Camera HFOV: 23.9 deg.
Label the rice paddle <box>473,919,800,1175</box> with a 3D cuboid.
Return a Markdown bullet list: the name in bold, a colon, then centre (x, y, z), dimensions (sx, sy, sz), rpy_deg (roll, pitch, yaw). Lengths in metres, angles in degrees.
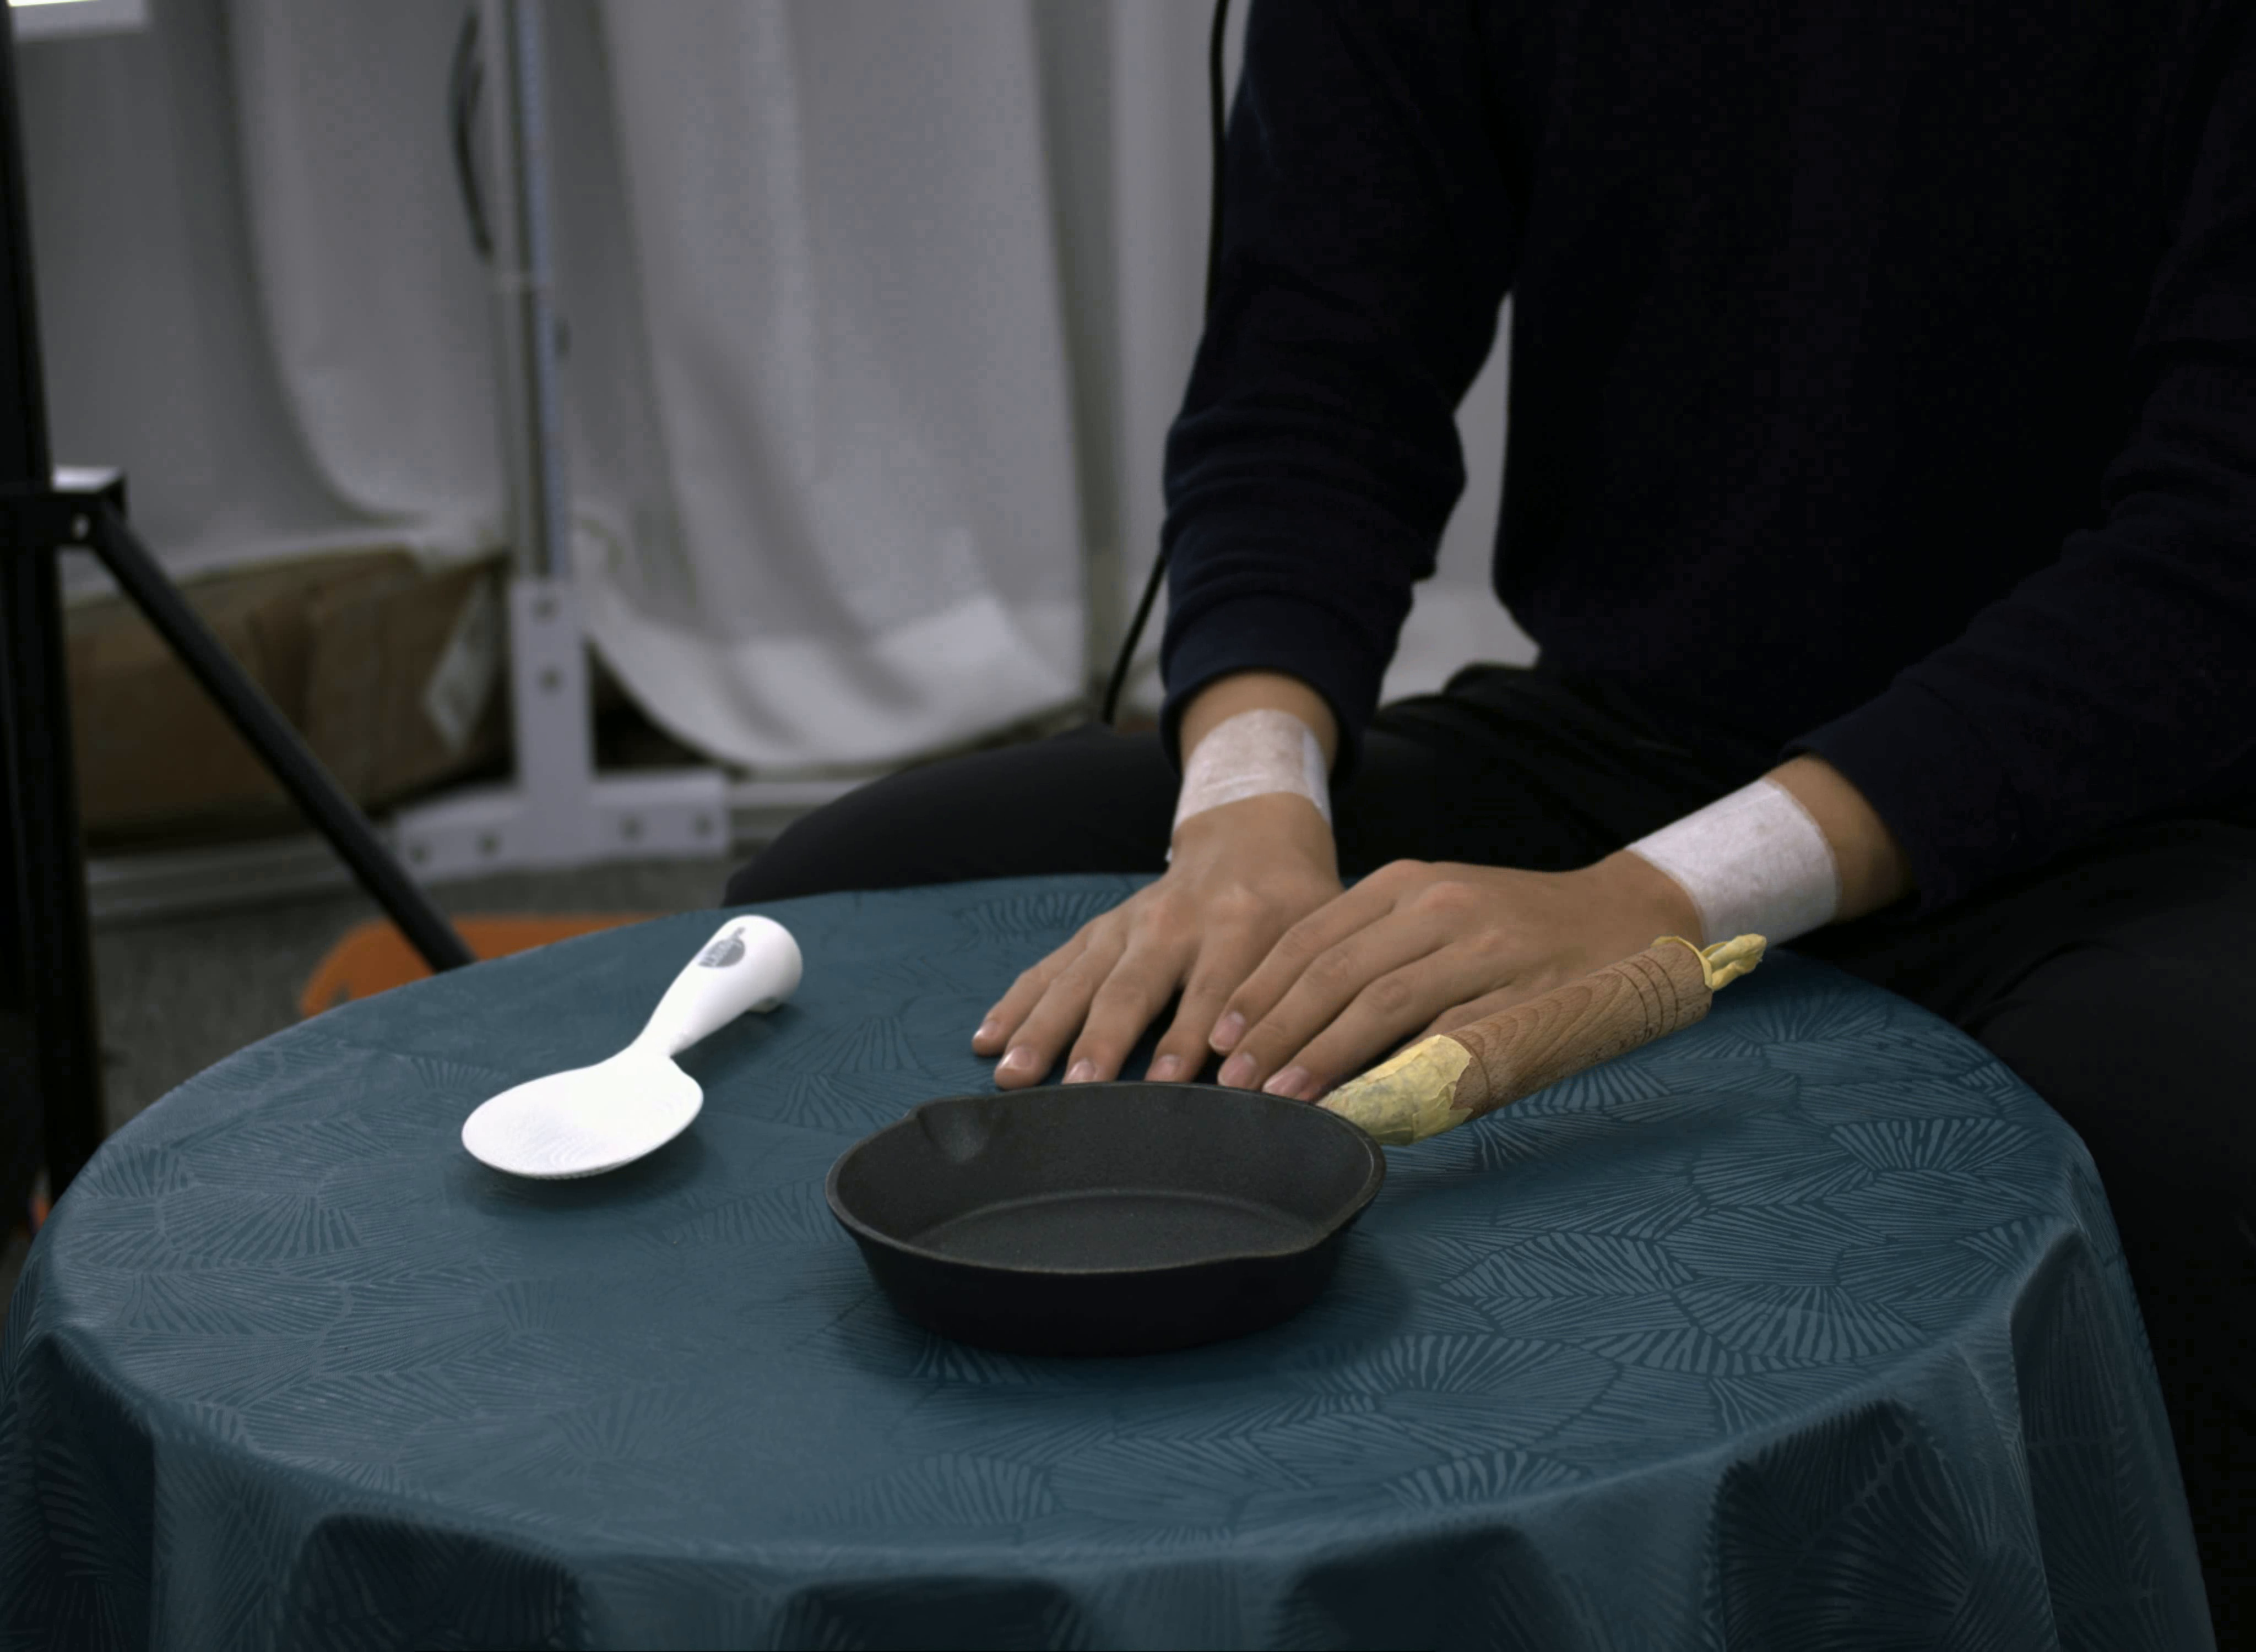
- **rice paddle**: centre (-0.147, 0.071, 1.659), dimensions (0.069, 0.029, 0.203), rpy_deg (0, 15, 15)

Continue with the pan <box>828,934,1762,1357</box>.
- **pan**: centre (0.063, 0.088, 1.527), dimensions (0.317, 0.049, 0.173), rpy_deg (-15, 19, -31)
